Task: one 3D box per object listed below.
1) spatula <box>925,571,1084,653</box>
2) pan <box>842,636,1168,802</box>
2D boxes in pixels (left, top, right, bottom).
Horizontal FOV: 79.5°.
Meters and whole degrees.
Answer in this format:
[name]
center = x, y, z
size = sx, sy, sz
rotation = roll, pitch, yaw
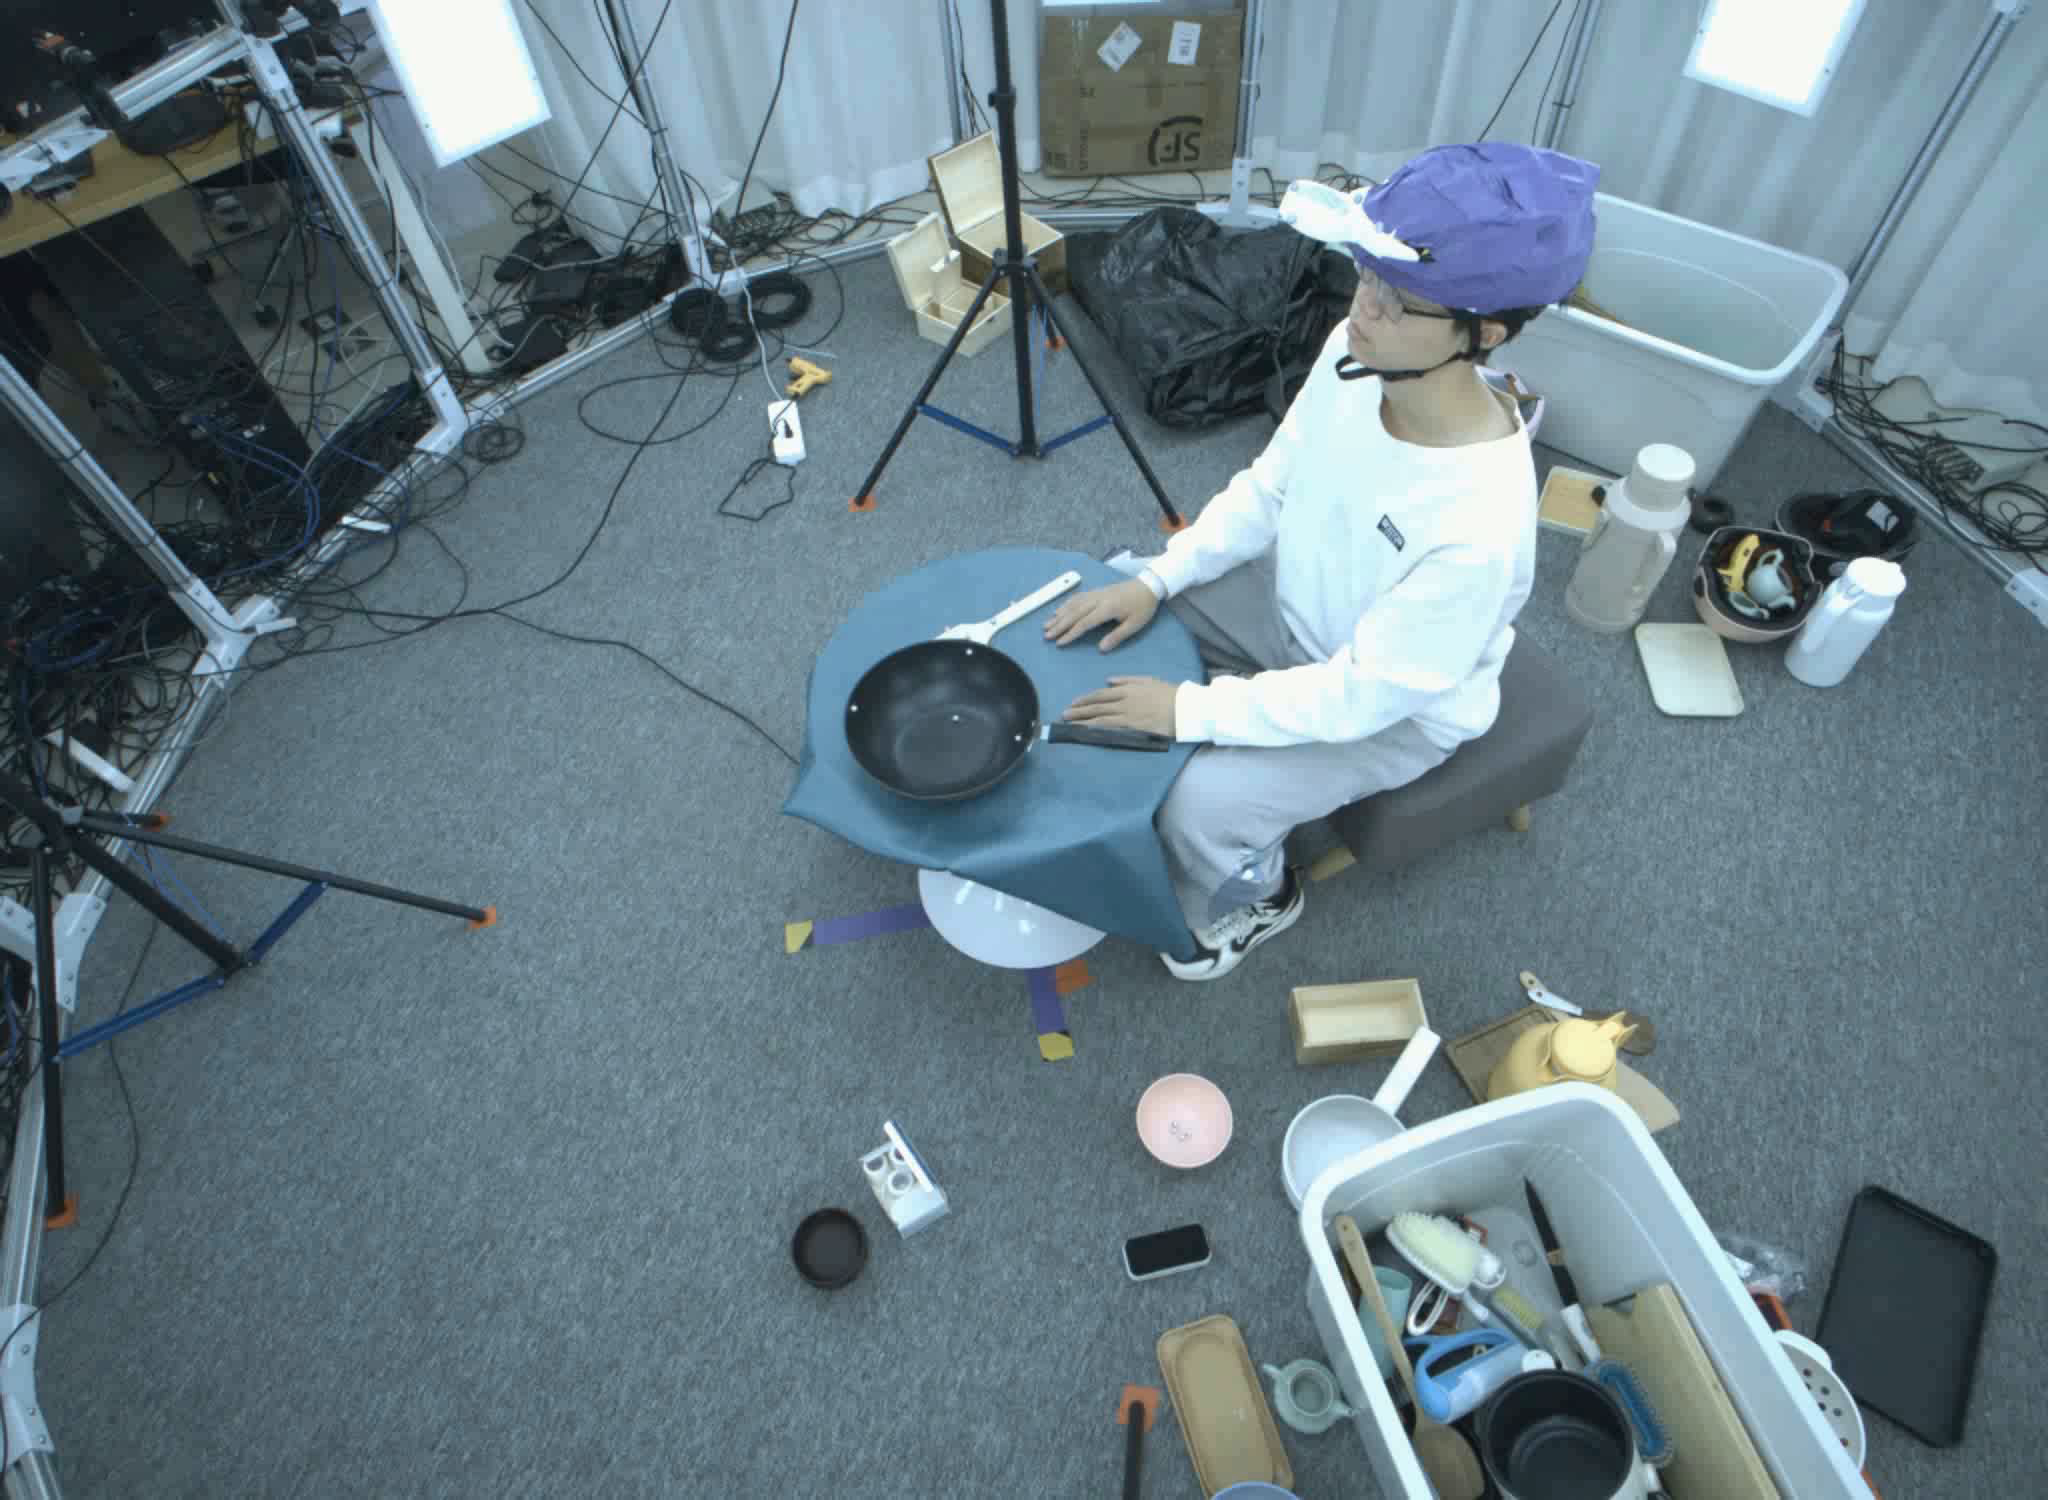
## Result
[spatula]
center = -0.026, -0.210, 1.930
size = 0.295, 0.011, 0.071
rotation = -33, 58, -20
[pan]
center = -0.027, -0.018, 1.747
size = 0.461, 0.088, 0.286
rotation = 9, 55, 6
